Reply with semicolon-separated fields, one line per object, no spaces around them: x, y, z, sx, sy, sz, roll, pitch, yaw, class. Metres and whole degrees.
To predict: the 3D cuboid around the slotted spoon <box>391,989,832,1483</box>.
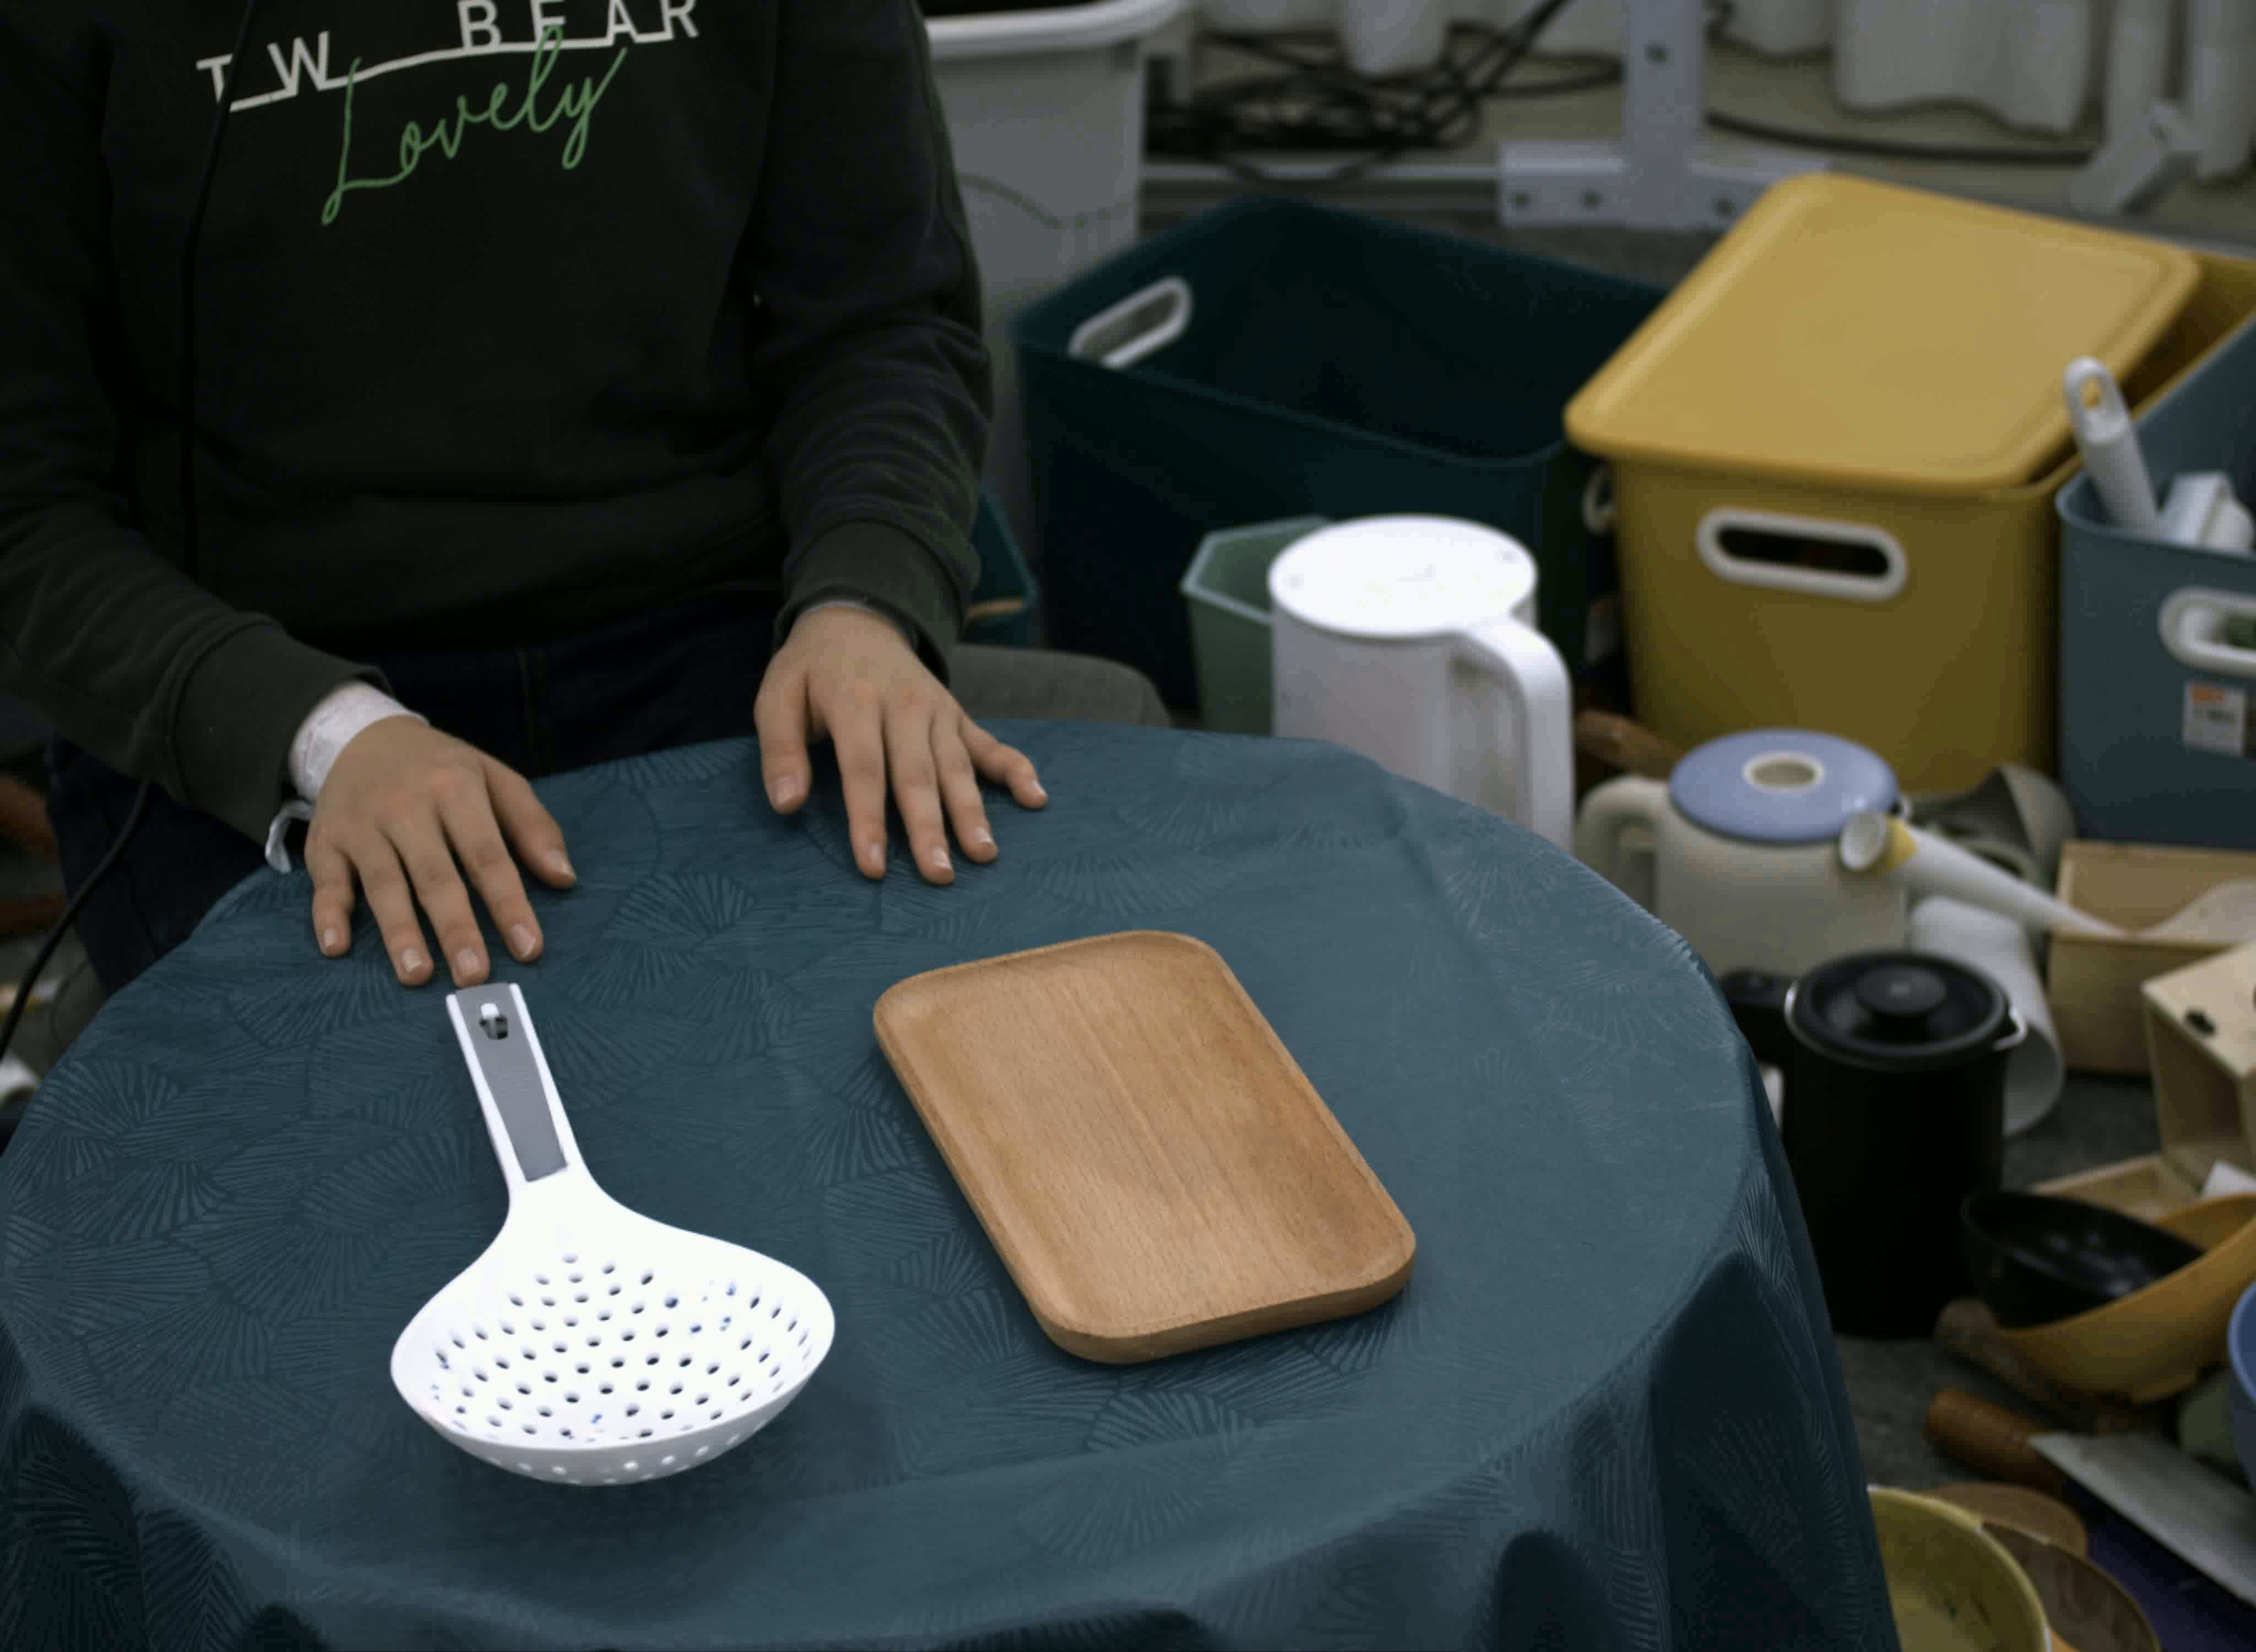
-0.184;0.126;1.821;0.136;0.045;0.353;-7;27;-12;slotted spoon

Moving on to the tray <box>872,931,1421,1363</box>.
0.003;0.104;1.877;0.130;0.022;0.253;-9;27;-15;tray
